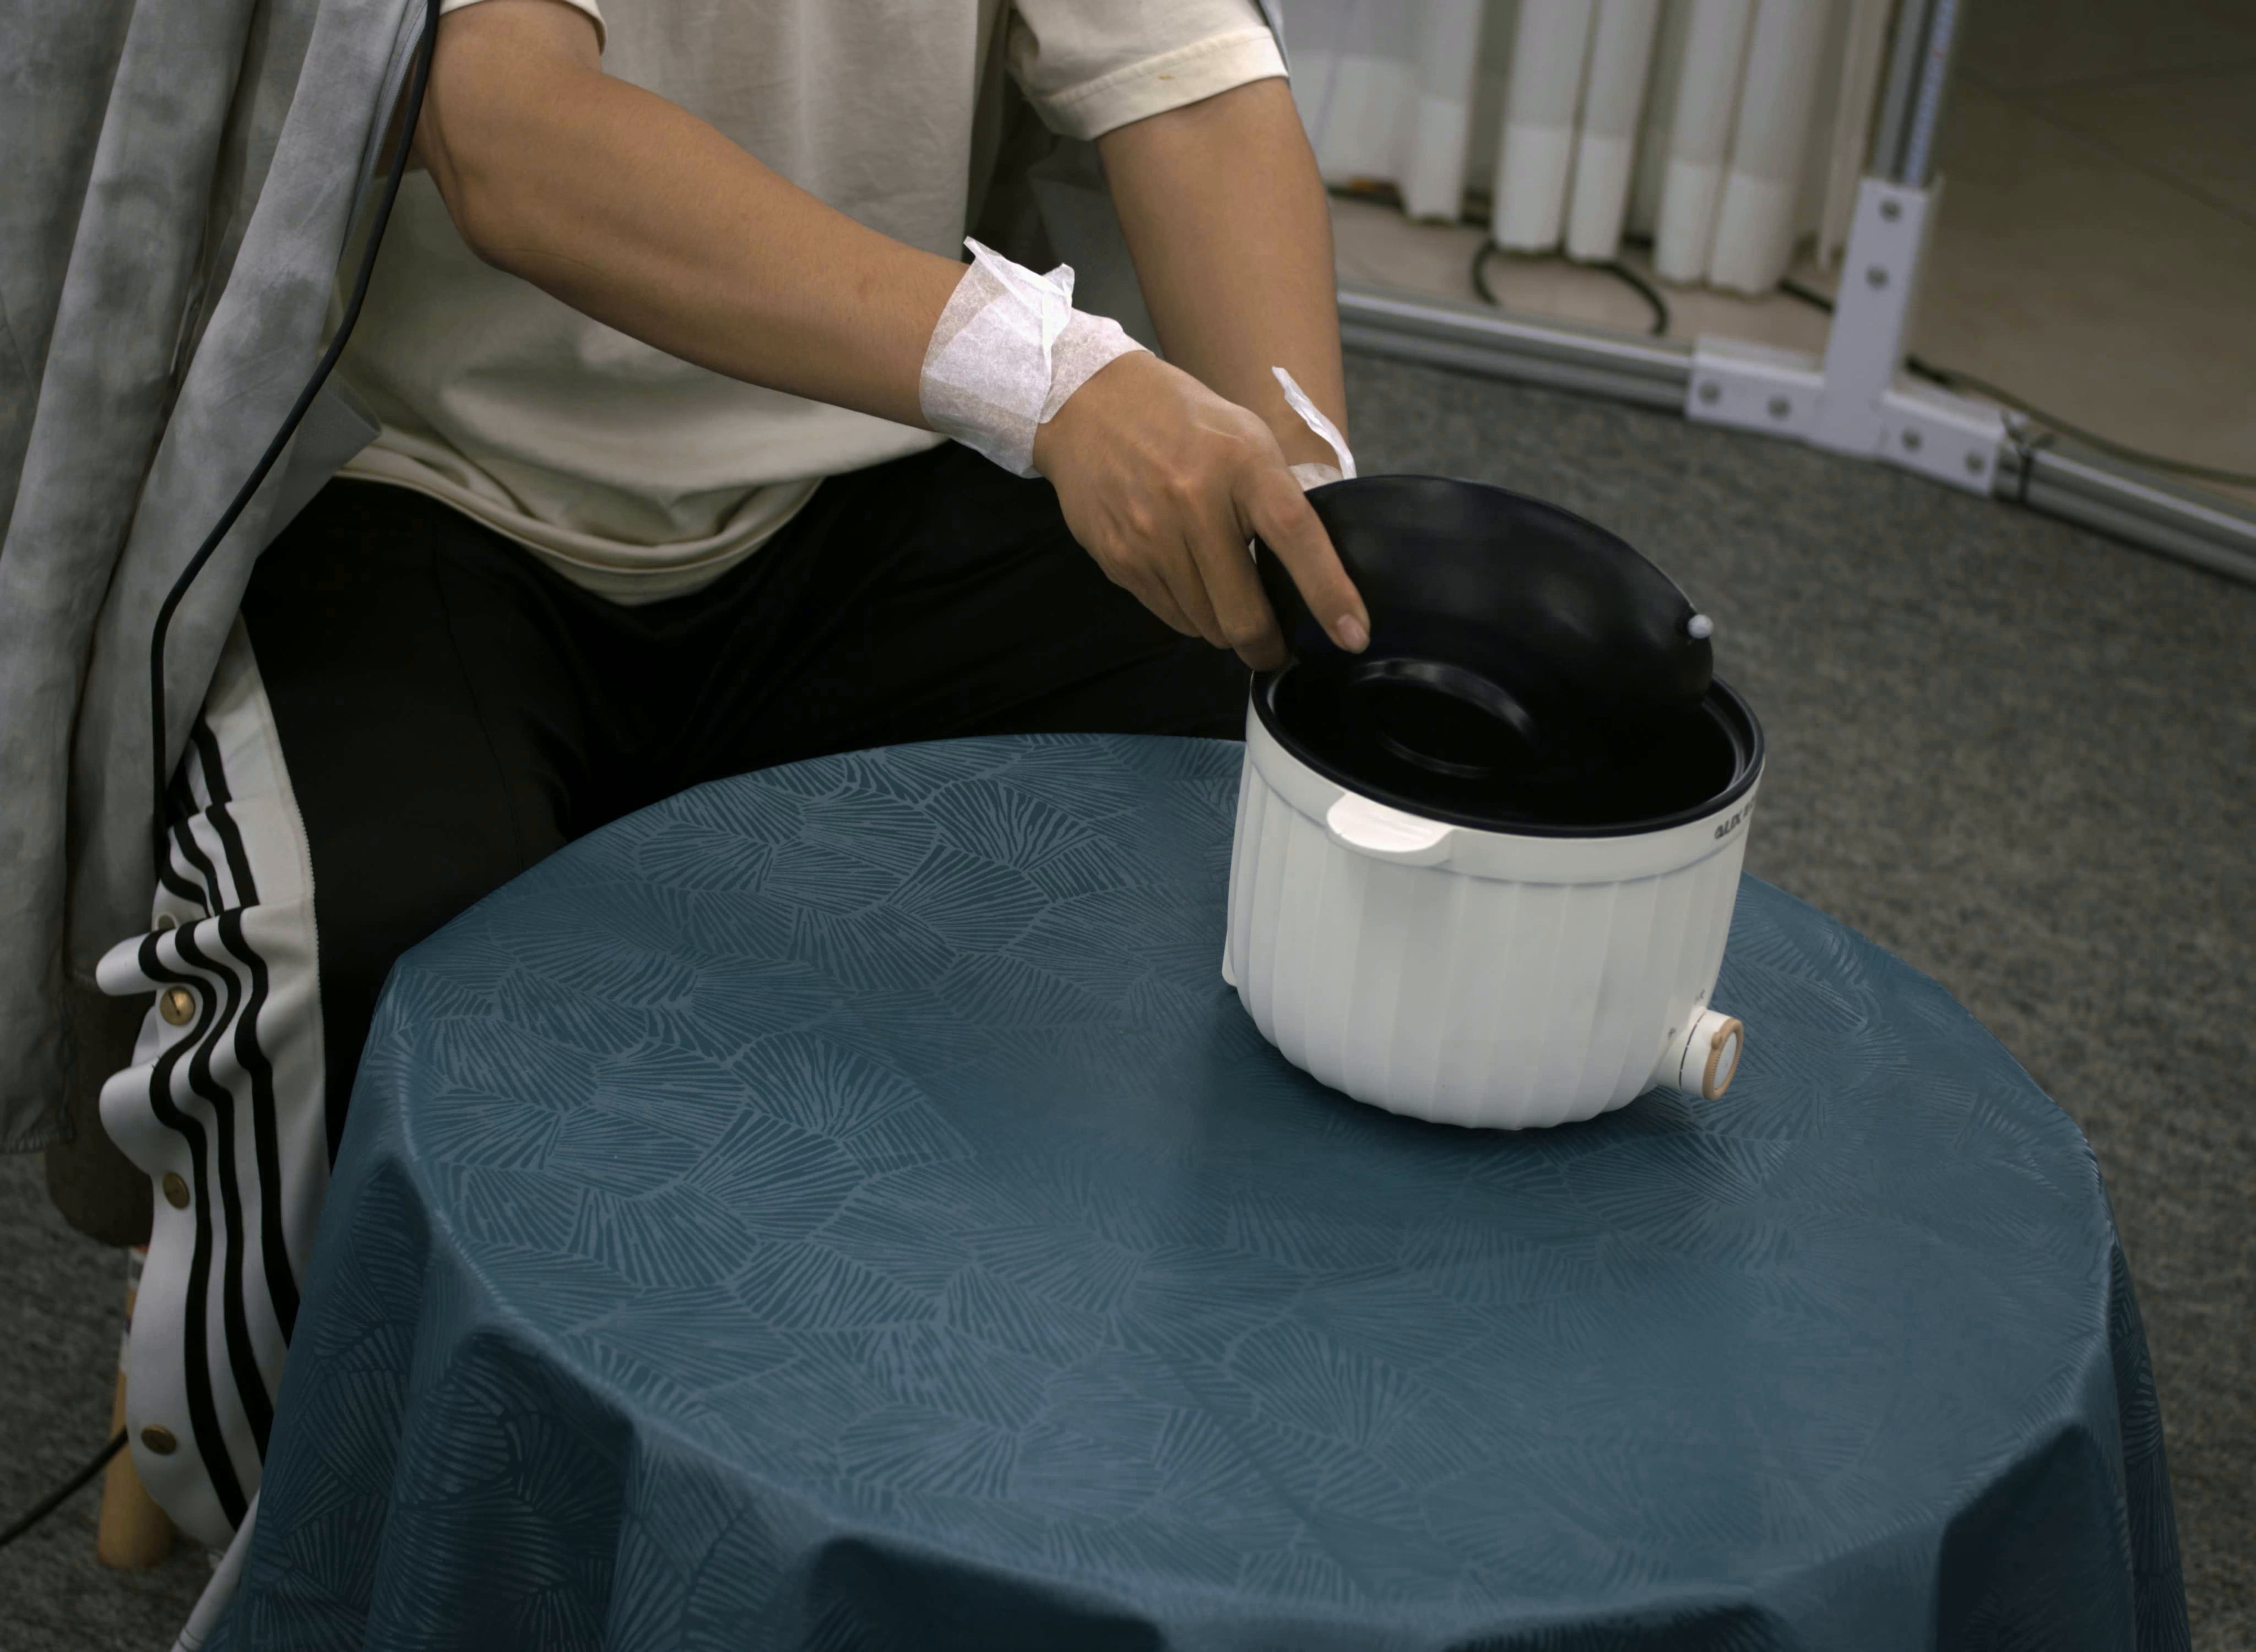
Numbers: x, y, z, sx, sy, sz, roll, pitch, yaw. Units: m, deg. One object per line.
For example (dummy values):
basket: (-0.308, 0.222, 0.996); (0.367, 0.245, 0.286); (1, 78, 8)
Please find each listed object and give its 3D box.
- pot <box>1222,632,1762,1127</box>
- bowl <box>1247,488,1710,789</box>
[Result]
pot: (0.131, 0.018, 1.888); (0.191, 0.142, 0.240); (15, 28, 23)
bowl: (0.117, -0.057, 1.843); (0.169, 0.137, 0.067); (26, 65, -13)
